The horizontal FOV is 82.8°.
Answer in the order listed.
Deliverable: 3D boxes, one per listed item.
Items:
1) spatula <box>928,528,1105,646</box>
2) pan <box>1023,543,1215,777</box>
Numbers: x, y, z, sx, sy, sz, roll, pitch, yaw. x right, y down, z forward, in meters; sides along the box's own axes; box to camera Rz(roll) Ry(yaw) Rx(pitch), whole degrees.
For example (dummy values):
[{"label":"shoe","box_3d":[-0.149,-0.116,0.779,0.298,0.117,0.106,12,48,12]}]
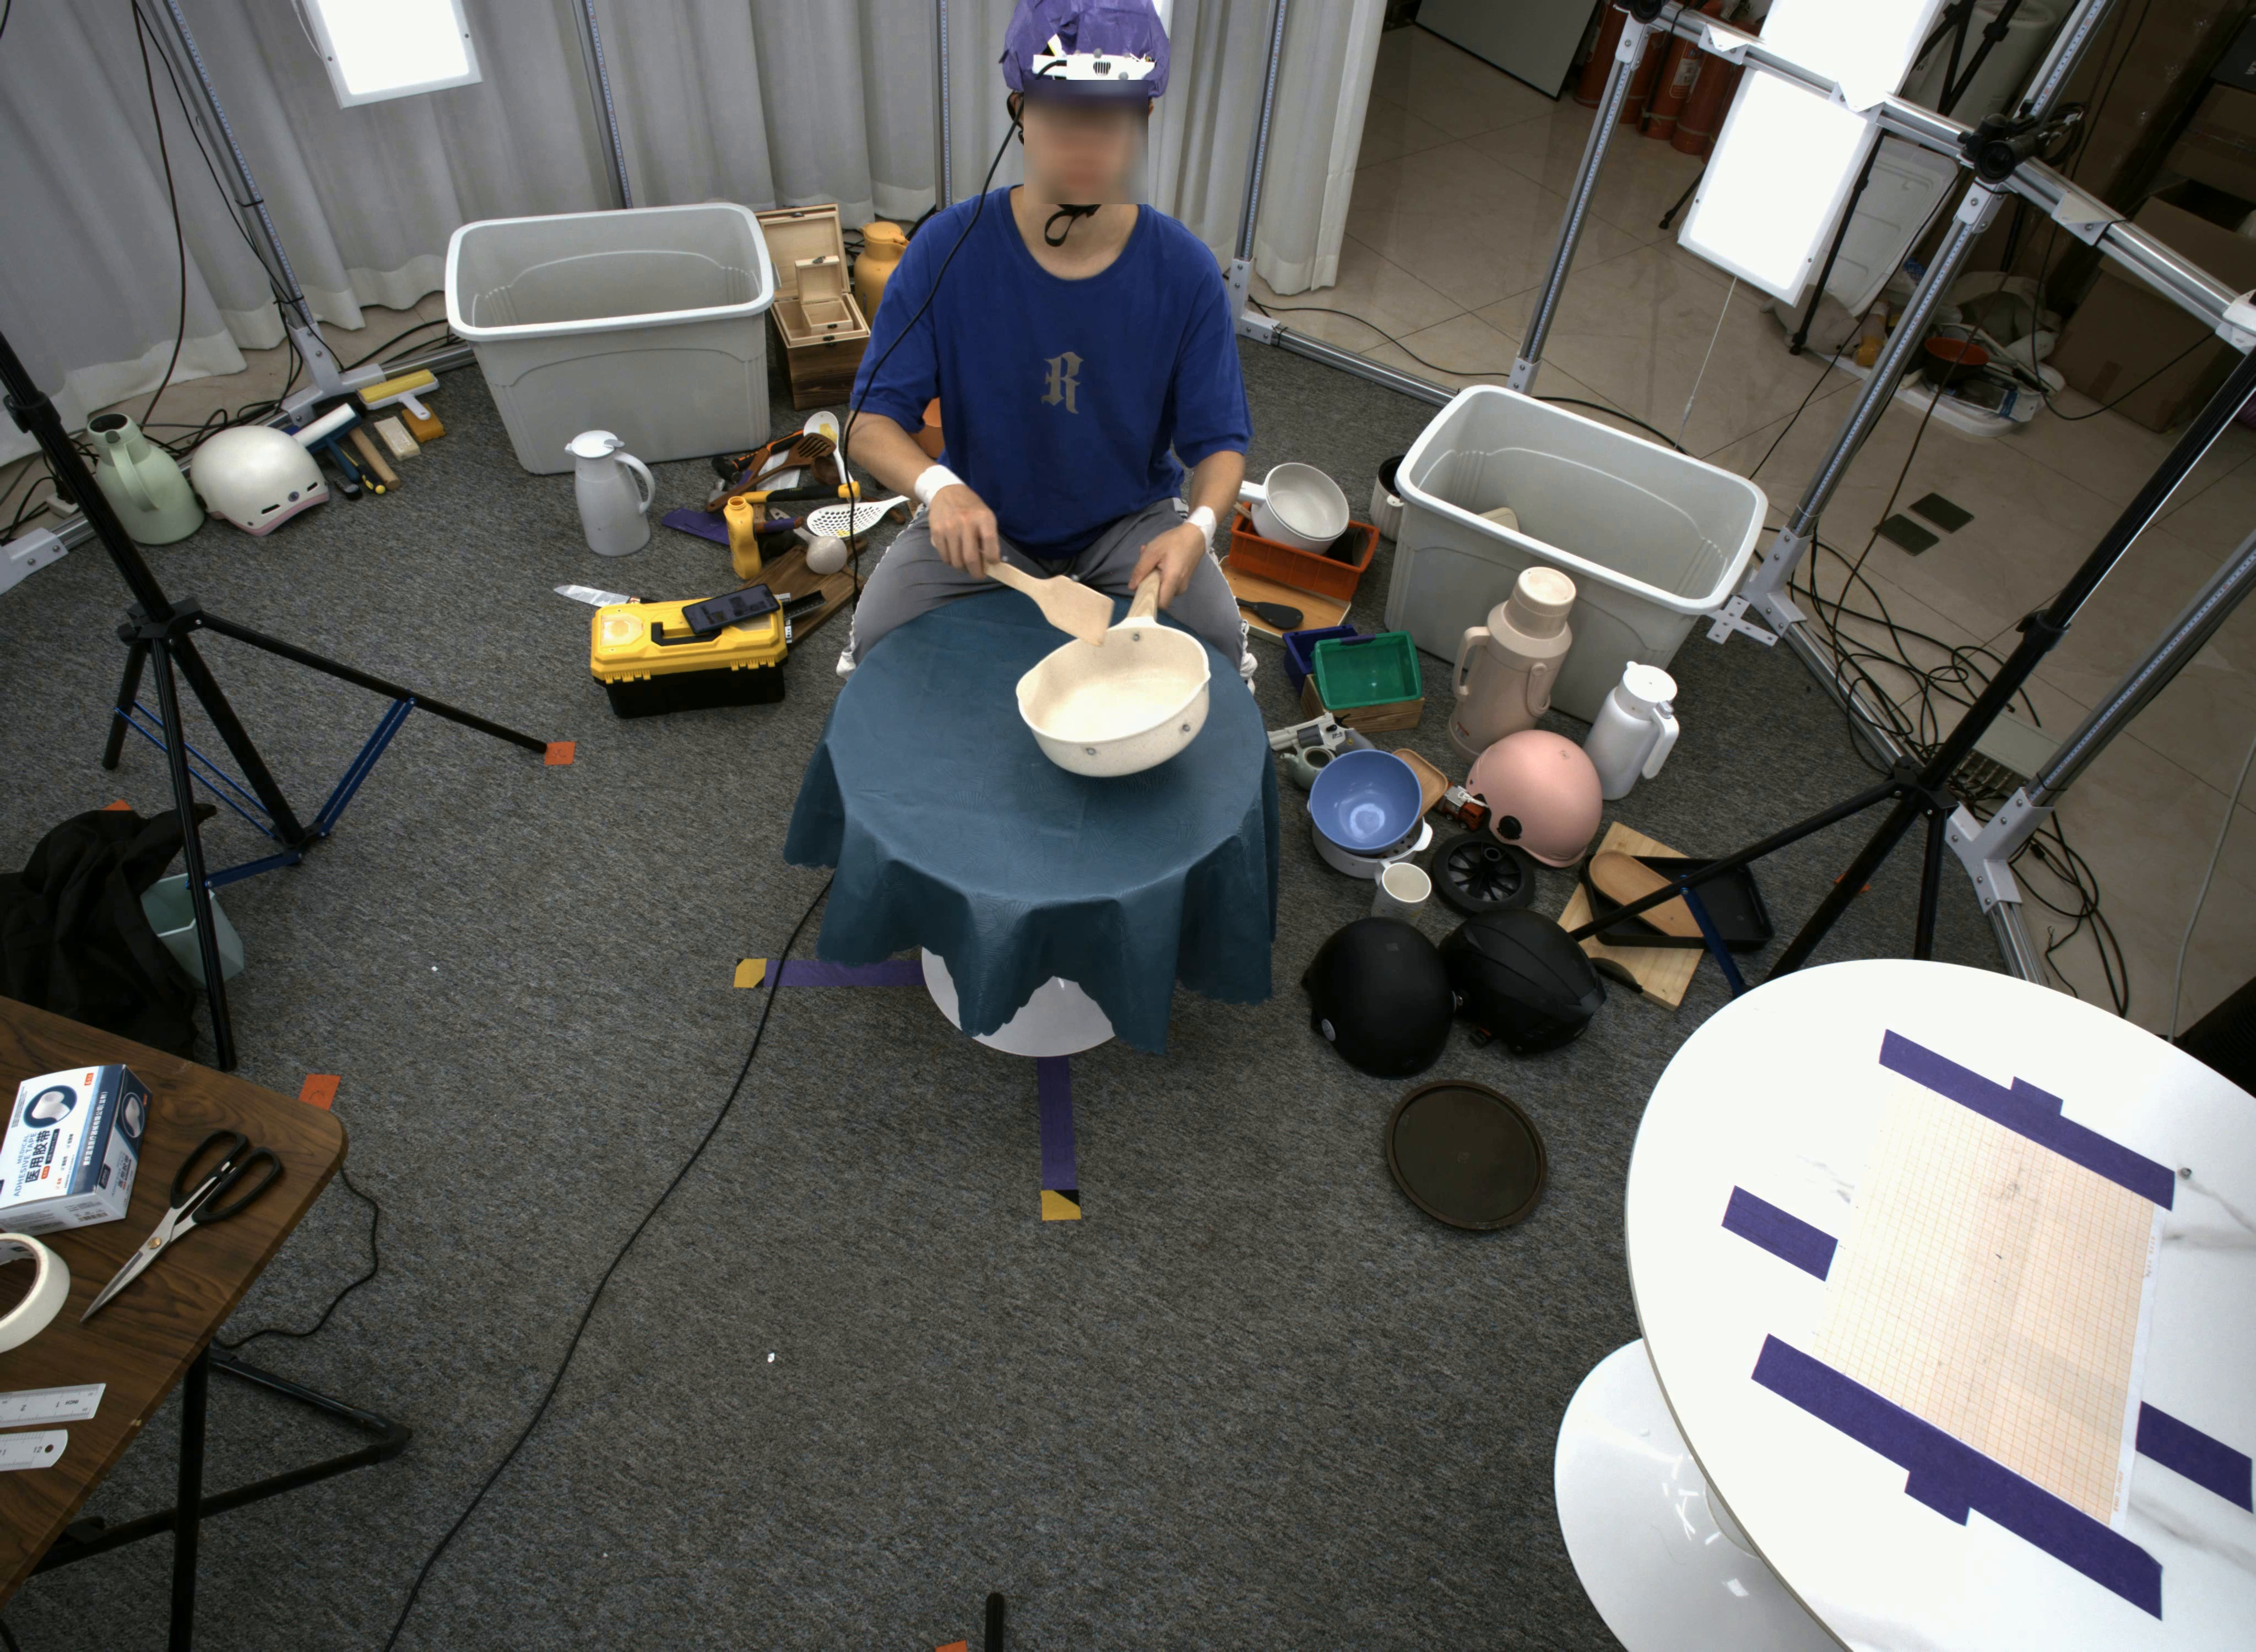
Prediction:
[{"label":"spatula","box_3d":[-0.153,-0.327,1.697,0.296,0.071,0.011,31,36,23]},{"label":"pan","box_3d":[0.016,-0.227,1.743,0.264,0.099,0.444,-3,41,20]}]
